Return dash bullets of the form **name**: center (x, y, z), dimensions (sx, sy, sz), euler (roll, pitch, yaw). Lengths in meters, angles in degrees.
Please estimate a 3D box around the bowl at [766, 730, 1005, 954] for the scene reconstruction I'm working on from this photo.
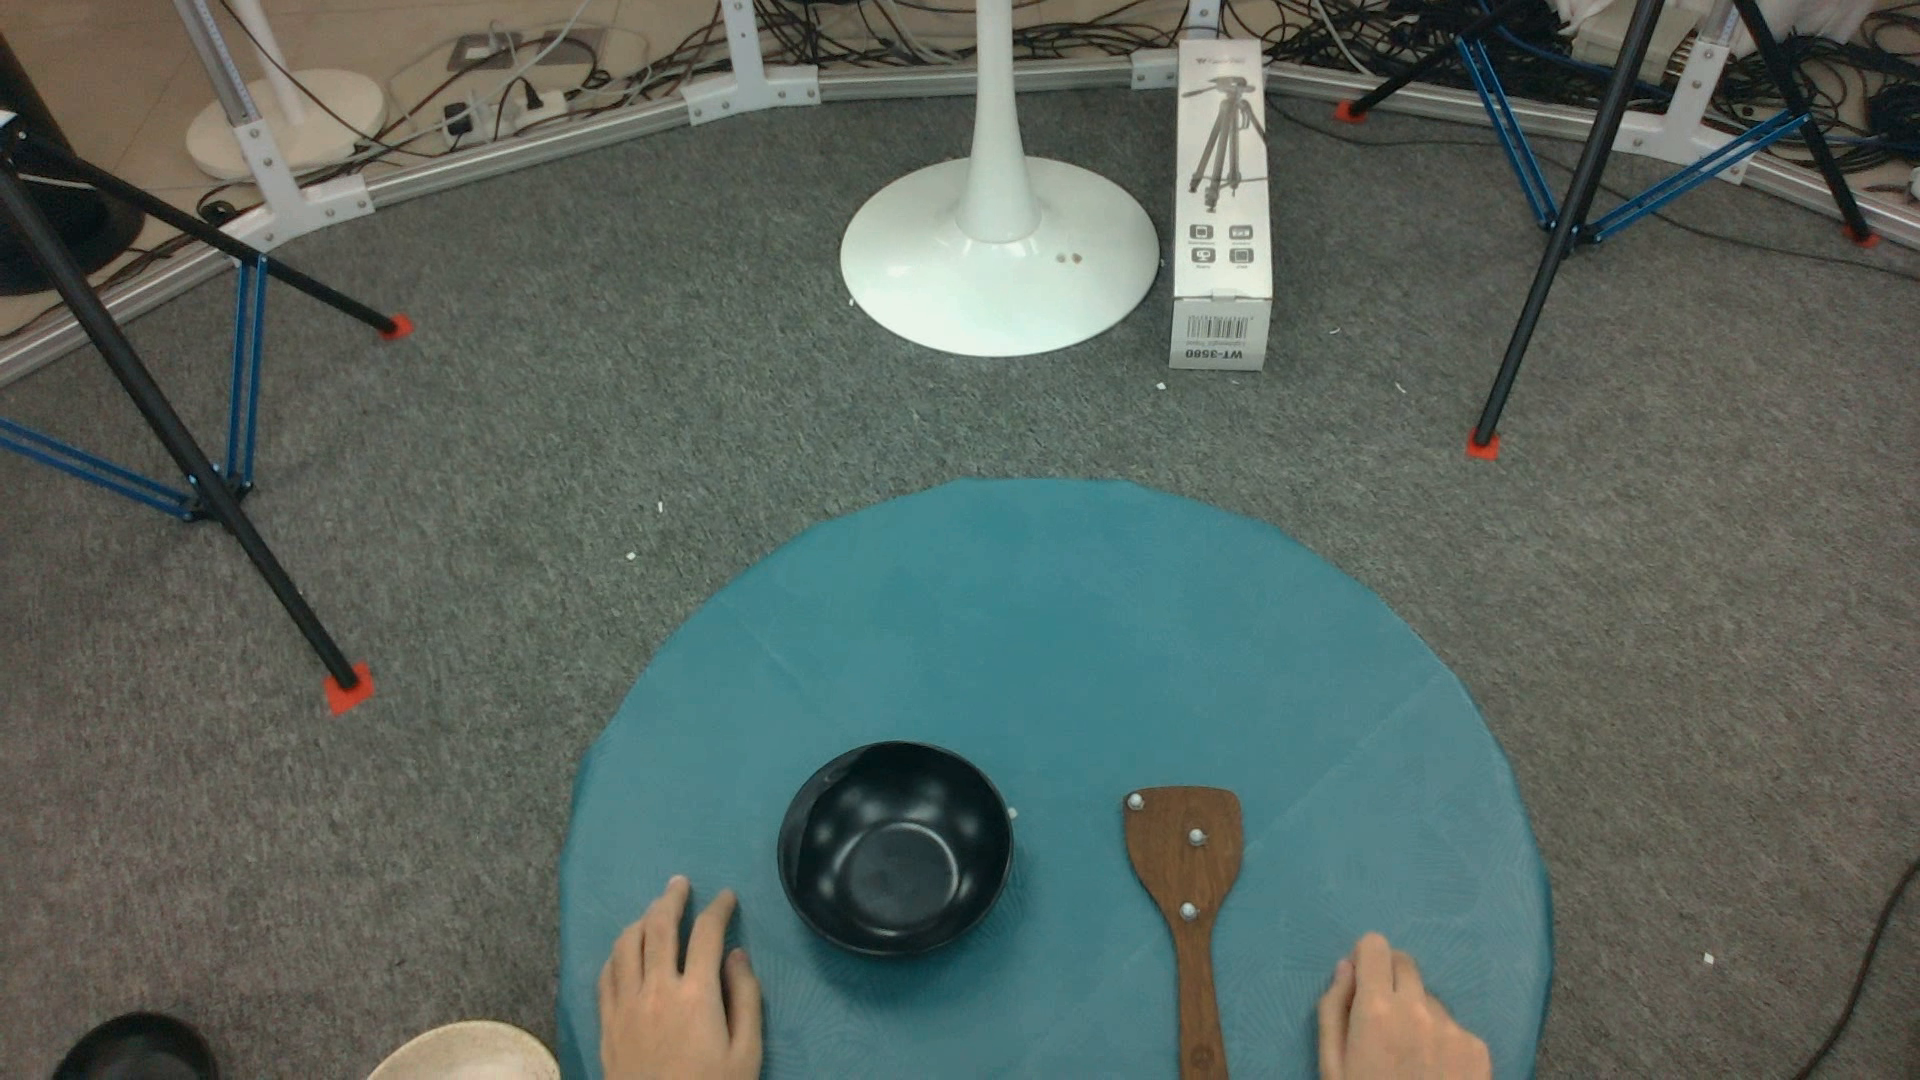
- **bowl**: center (-0.044, 0.185, 0.818), dimensions (0.140, 0.049, 0.140), euler (1, 51, -2)

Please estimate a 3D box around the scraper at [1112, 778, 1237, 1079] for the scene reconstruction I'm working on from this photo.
- **scraper**: center (0.130, 0.233, 0.799), dimensions (0.076, 0.011, 0.212), euler (0, 50, 2)
